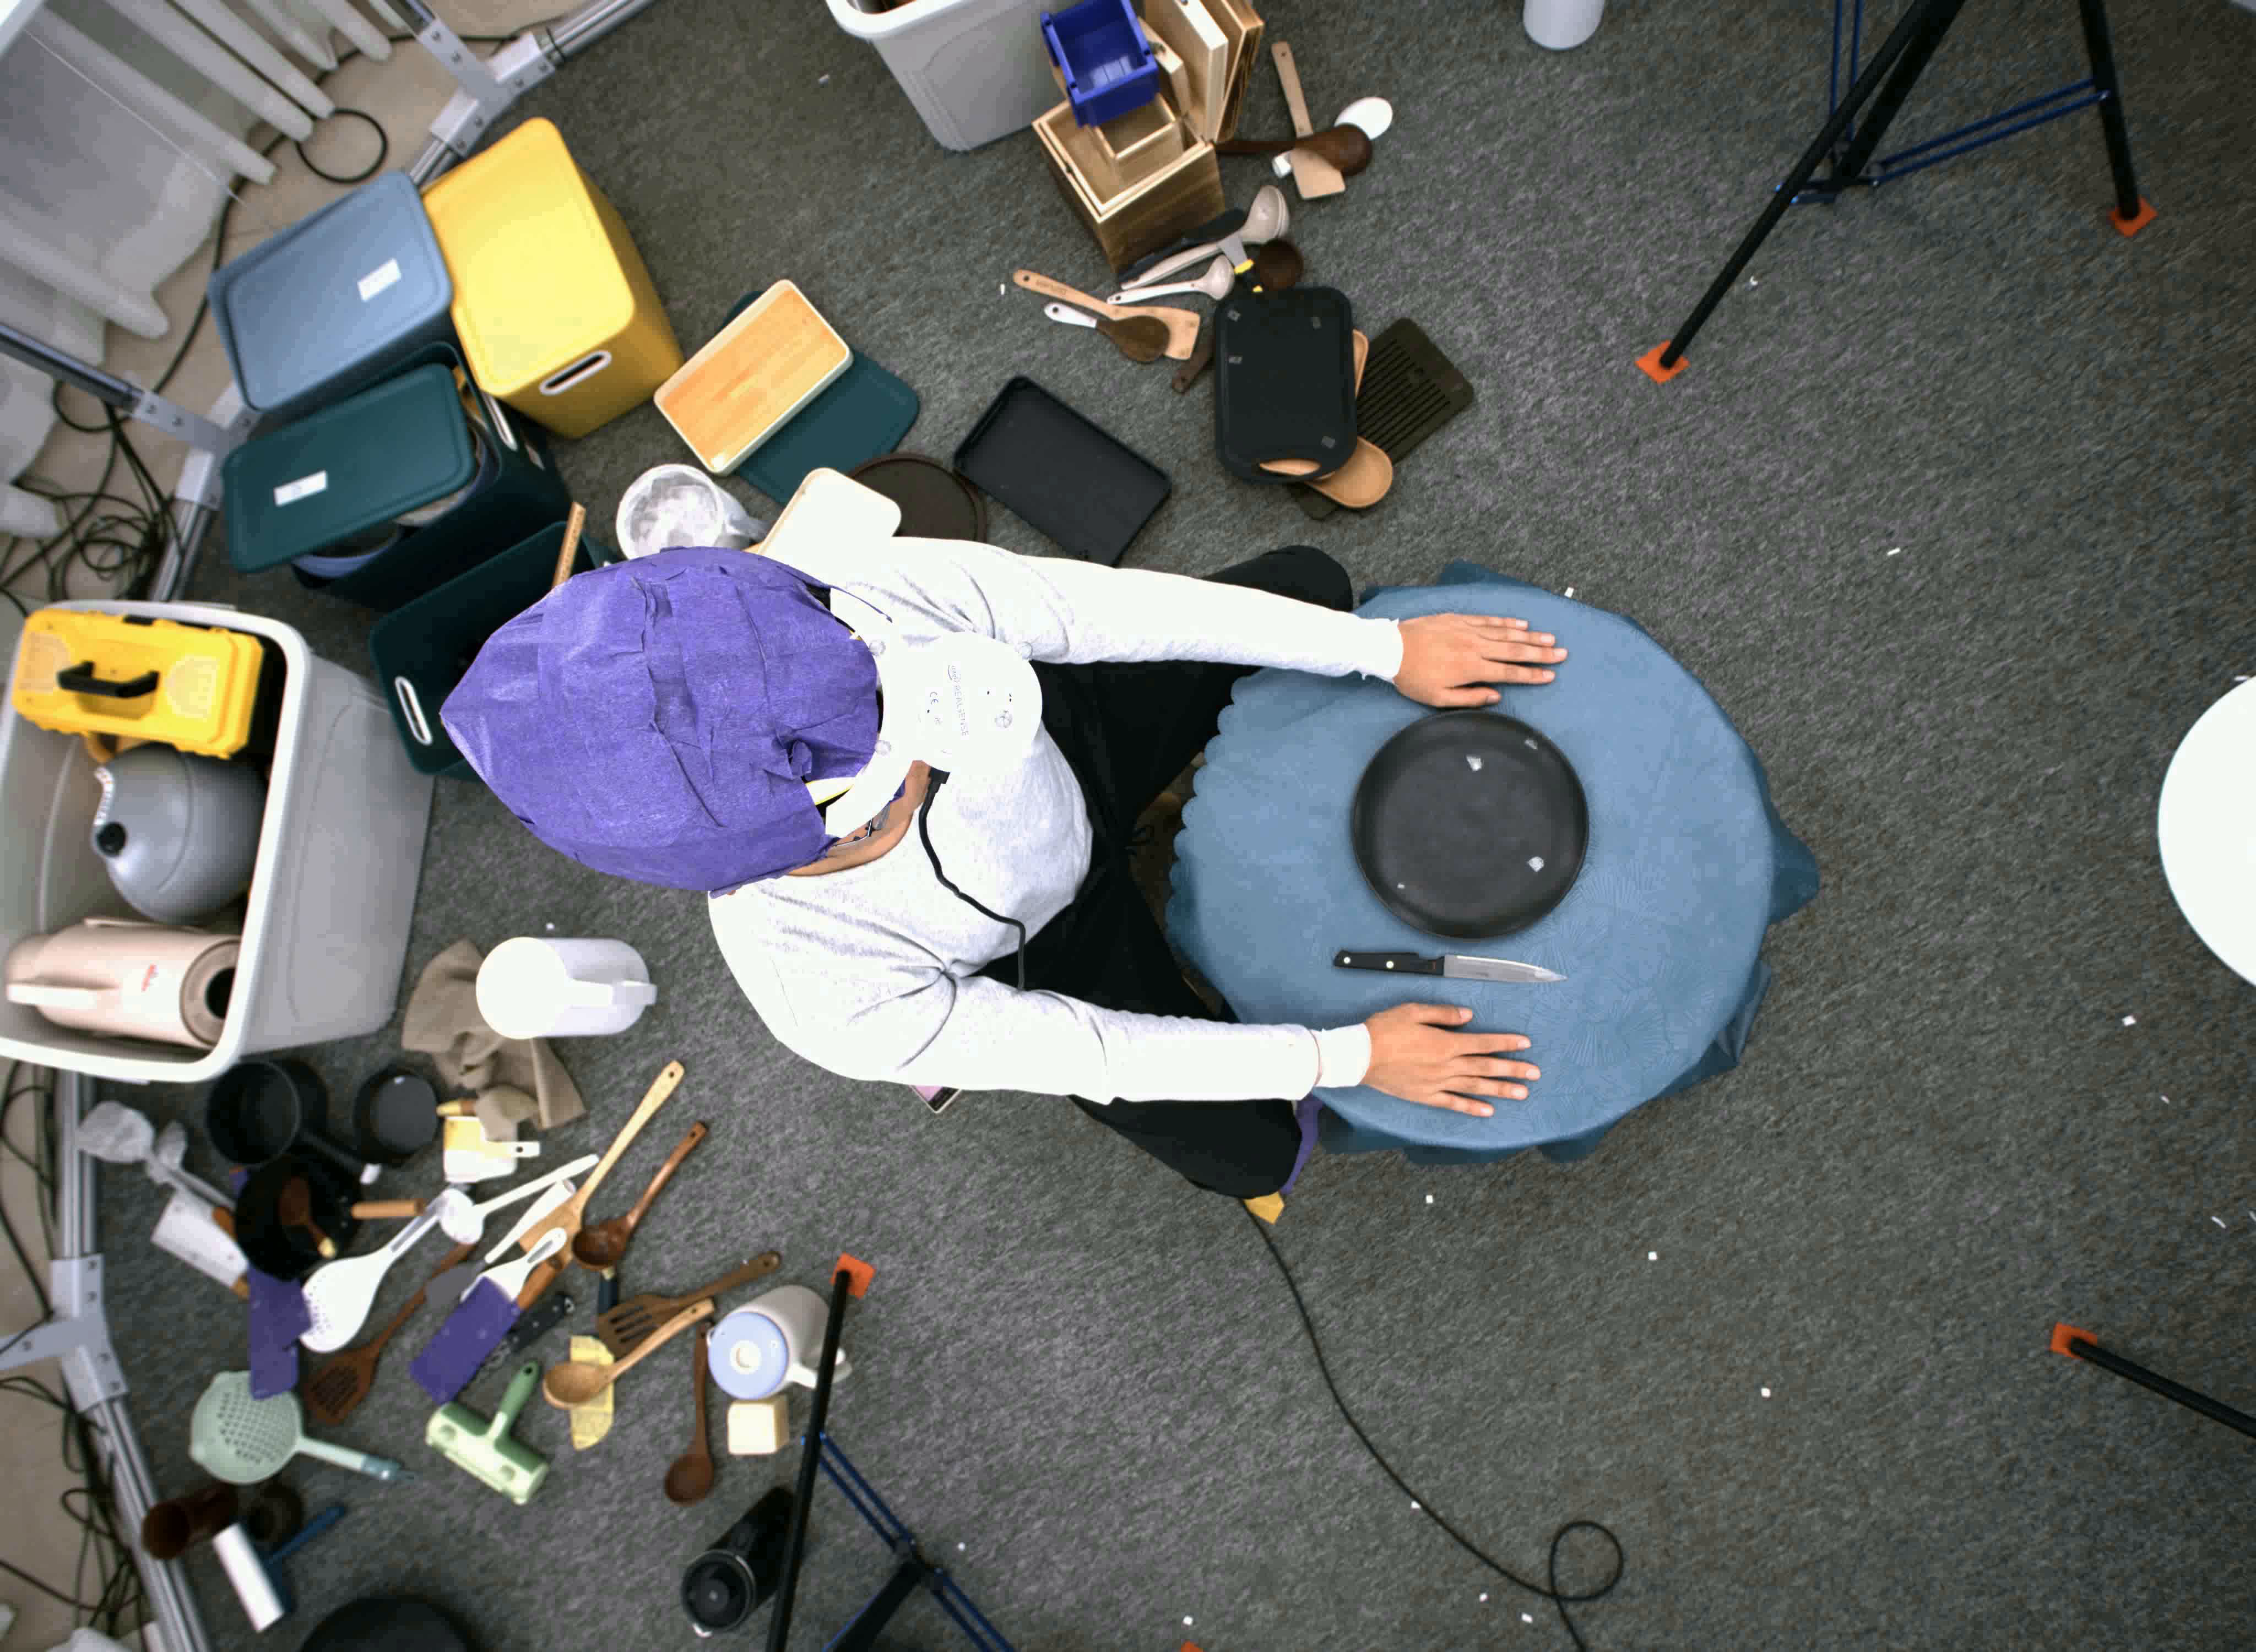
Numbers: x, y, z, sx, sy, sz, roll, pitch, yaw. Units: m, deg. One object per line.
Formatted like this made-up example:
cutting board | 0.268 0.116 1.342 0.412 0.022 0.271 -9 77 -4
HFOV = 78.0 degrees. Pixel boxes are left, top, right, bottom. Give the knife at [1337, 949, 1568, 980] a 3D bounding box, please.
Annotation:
knife | 0.337 0.145 1.438 0.239 0.016 0.024 3 87 8

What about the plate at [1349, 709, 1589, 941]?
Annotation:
plate | 0.355 -0.002 1.437 0.245 0.023 0.243 -1 87 11
